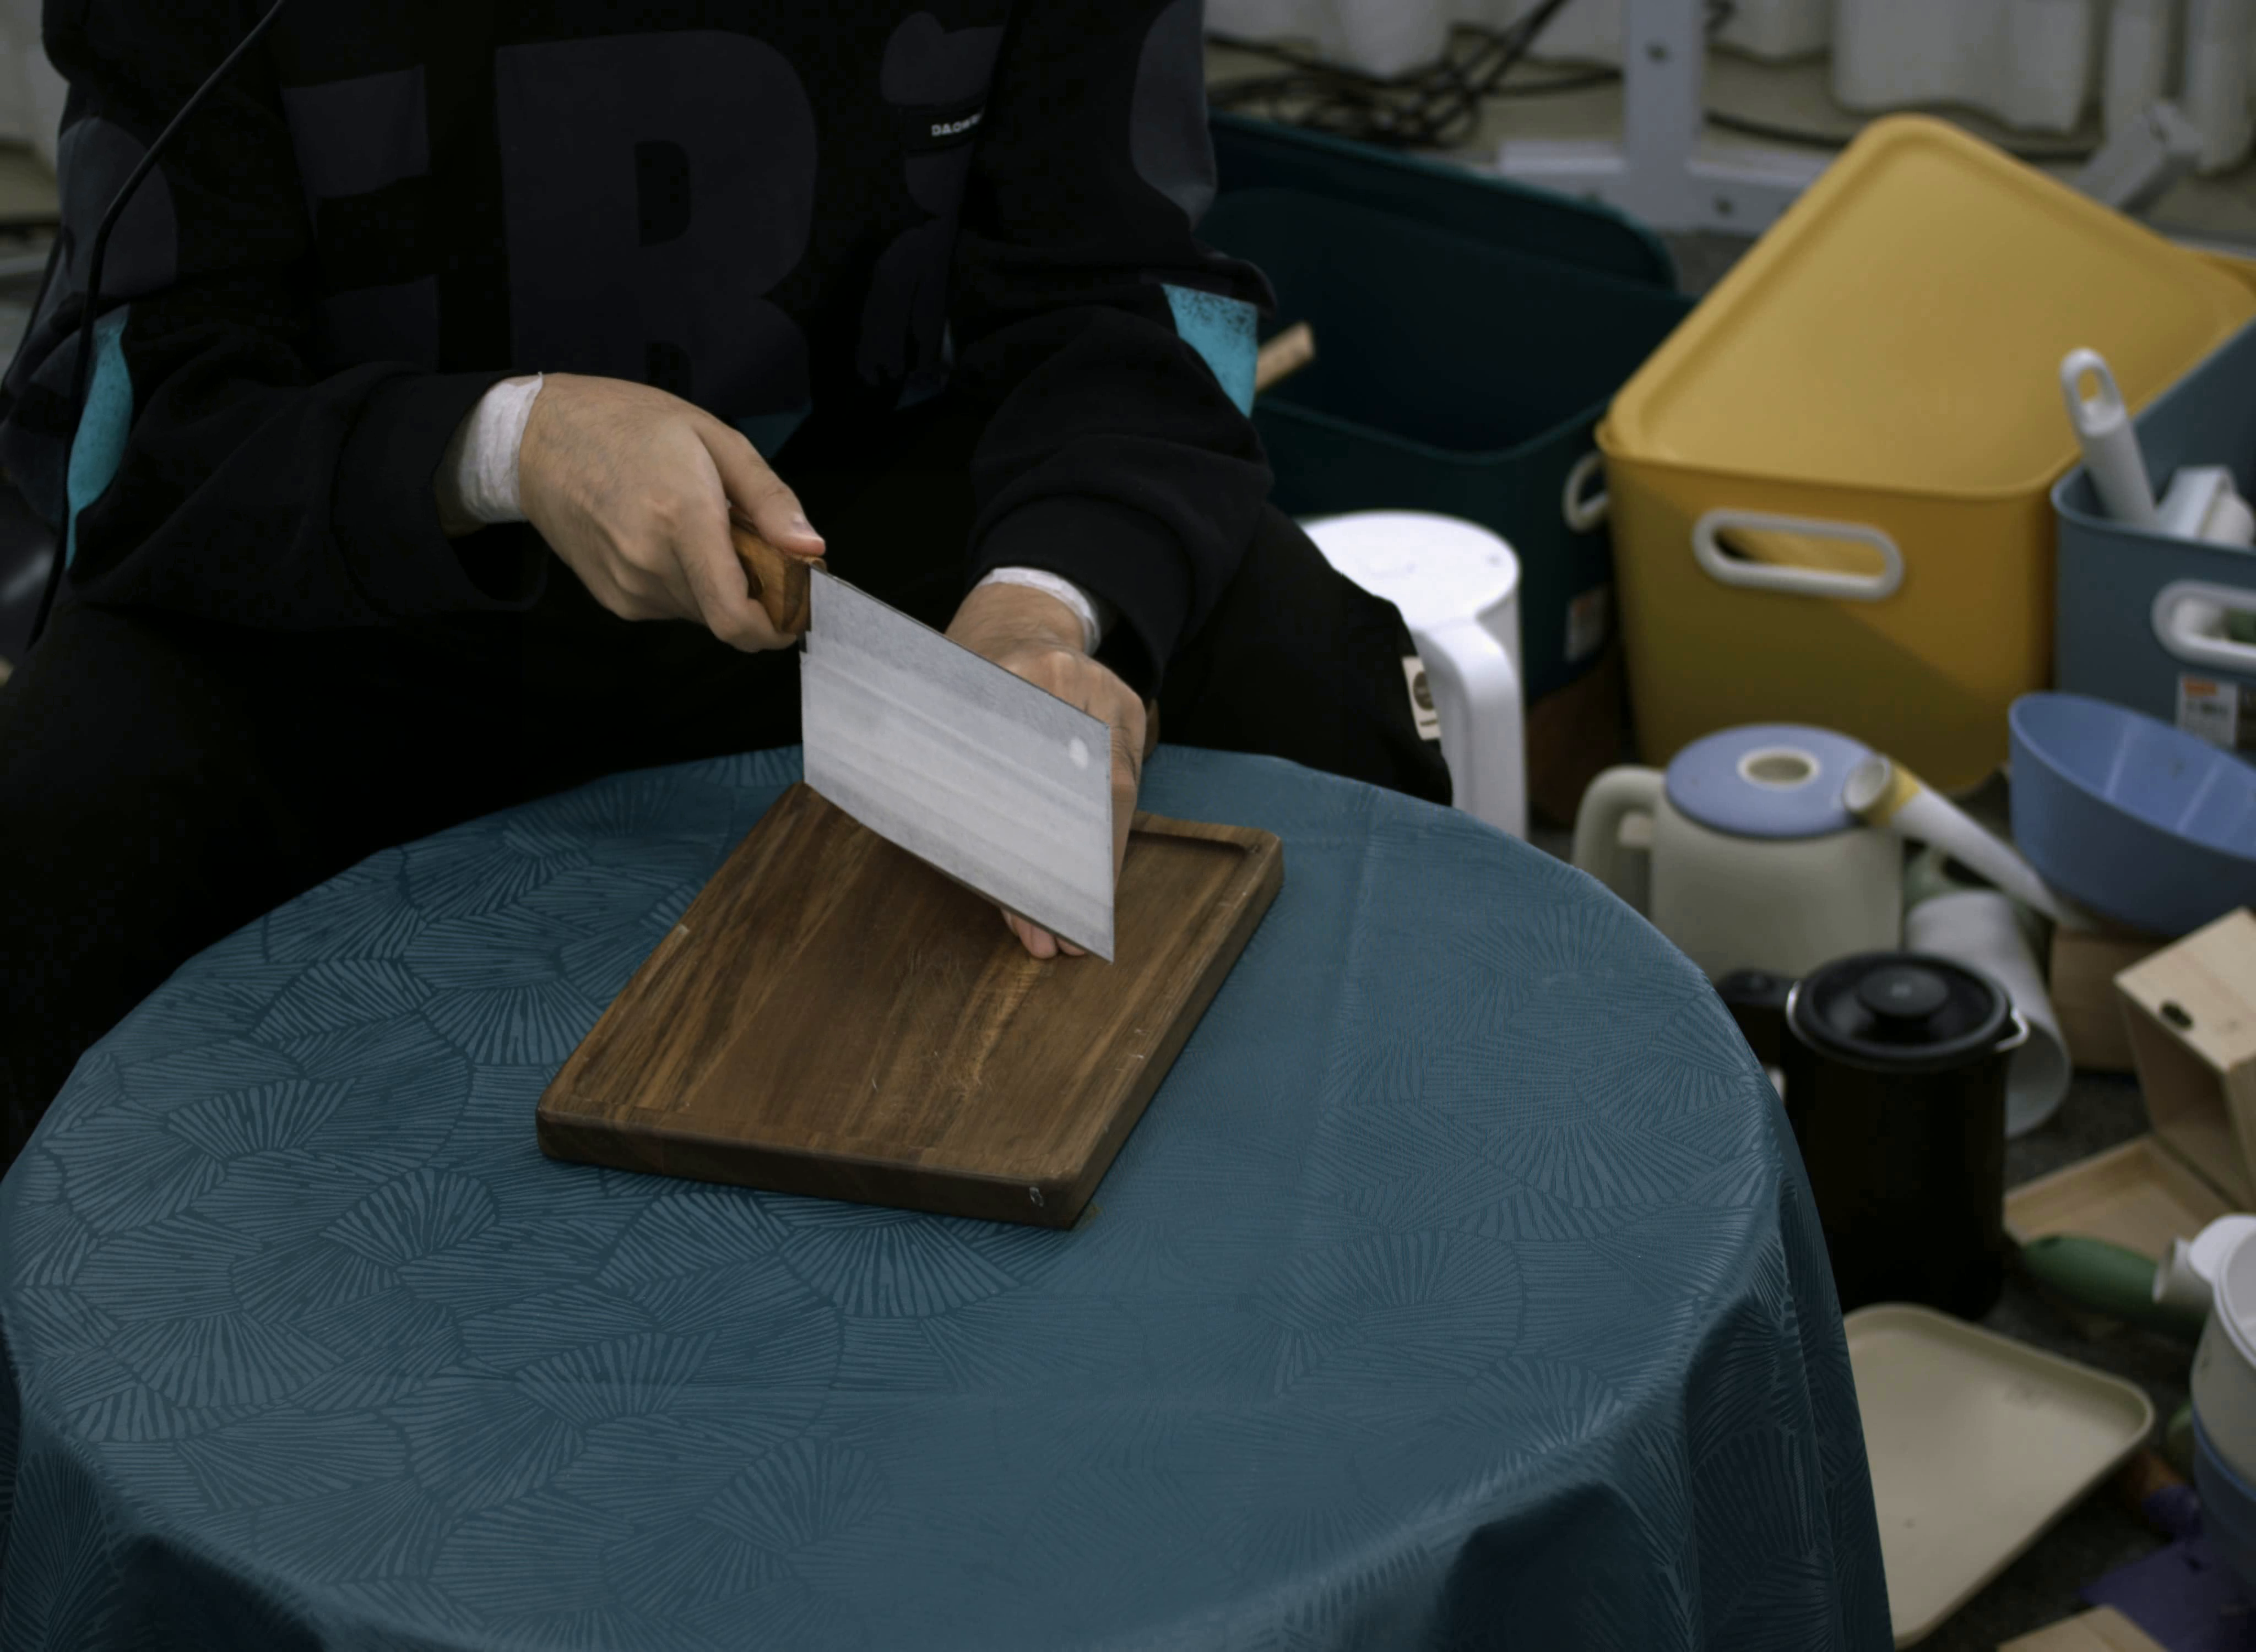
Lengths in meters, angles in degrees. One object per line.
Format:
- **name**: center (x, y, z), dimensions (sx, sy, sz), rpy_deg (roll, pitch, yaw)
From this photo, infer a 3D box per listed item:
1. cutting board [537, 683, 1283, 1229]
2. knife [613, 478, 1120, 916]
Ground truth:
- **cutting board**: center (-0.057, 0.035, 2.011), dimensions (0.199, 0.023, 0.358), rpy_deg (6, 29, 17)
- **knife**: center (-0.094, -0.044, 1.984), dimensions (0.021, 0.092, 0.306), rpy_deg (-17, 29, -33)
